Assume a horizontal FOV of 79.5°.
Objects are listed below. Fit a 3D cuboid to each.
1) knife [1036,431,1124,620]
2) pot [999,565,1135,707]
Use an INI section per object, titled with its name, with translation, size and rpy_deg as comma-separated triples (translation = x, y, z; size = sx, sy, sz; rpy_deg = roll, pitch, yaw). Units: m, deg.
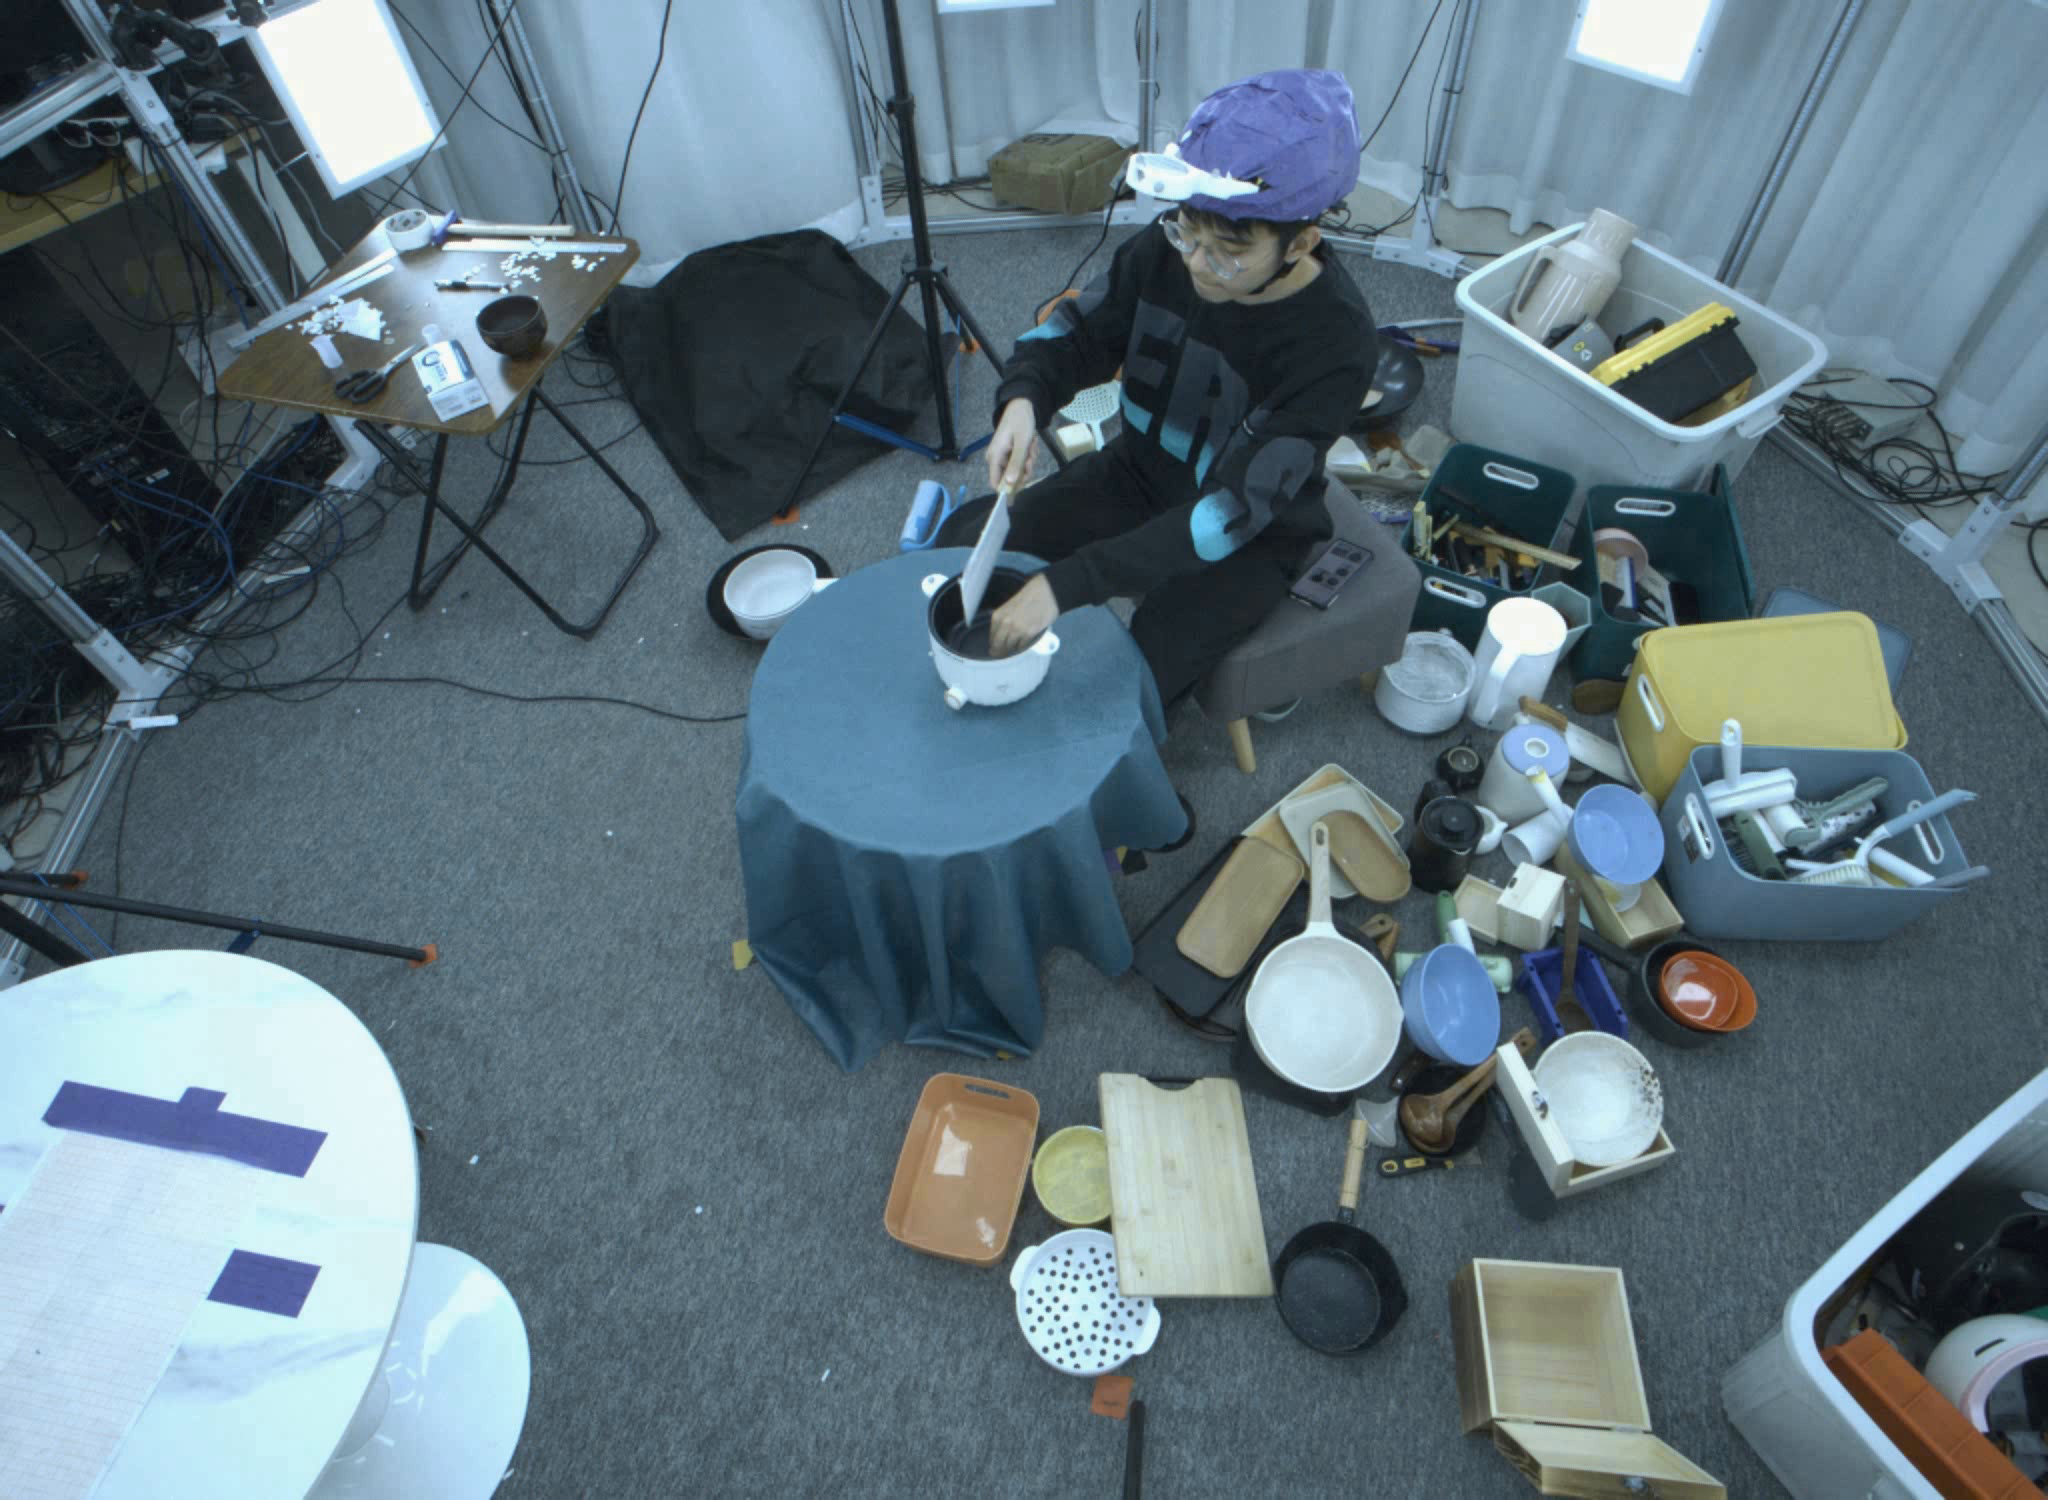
[knife]
translation = 0.076, -0.331, 1.741
size = 0.021, 0.115, 0.315
rpy_deg = 19, 69, 15
[pot]
translation = 0.058, -0.157, 1.808
size = 0.236, 0.144, 0.192
rpy_deg = 33, 60, 23
